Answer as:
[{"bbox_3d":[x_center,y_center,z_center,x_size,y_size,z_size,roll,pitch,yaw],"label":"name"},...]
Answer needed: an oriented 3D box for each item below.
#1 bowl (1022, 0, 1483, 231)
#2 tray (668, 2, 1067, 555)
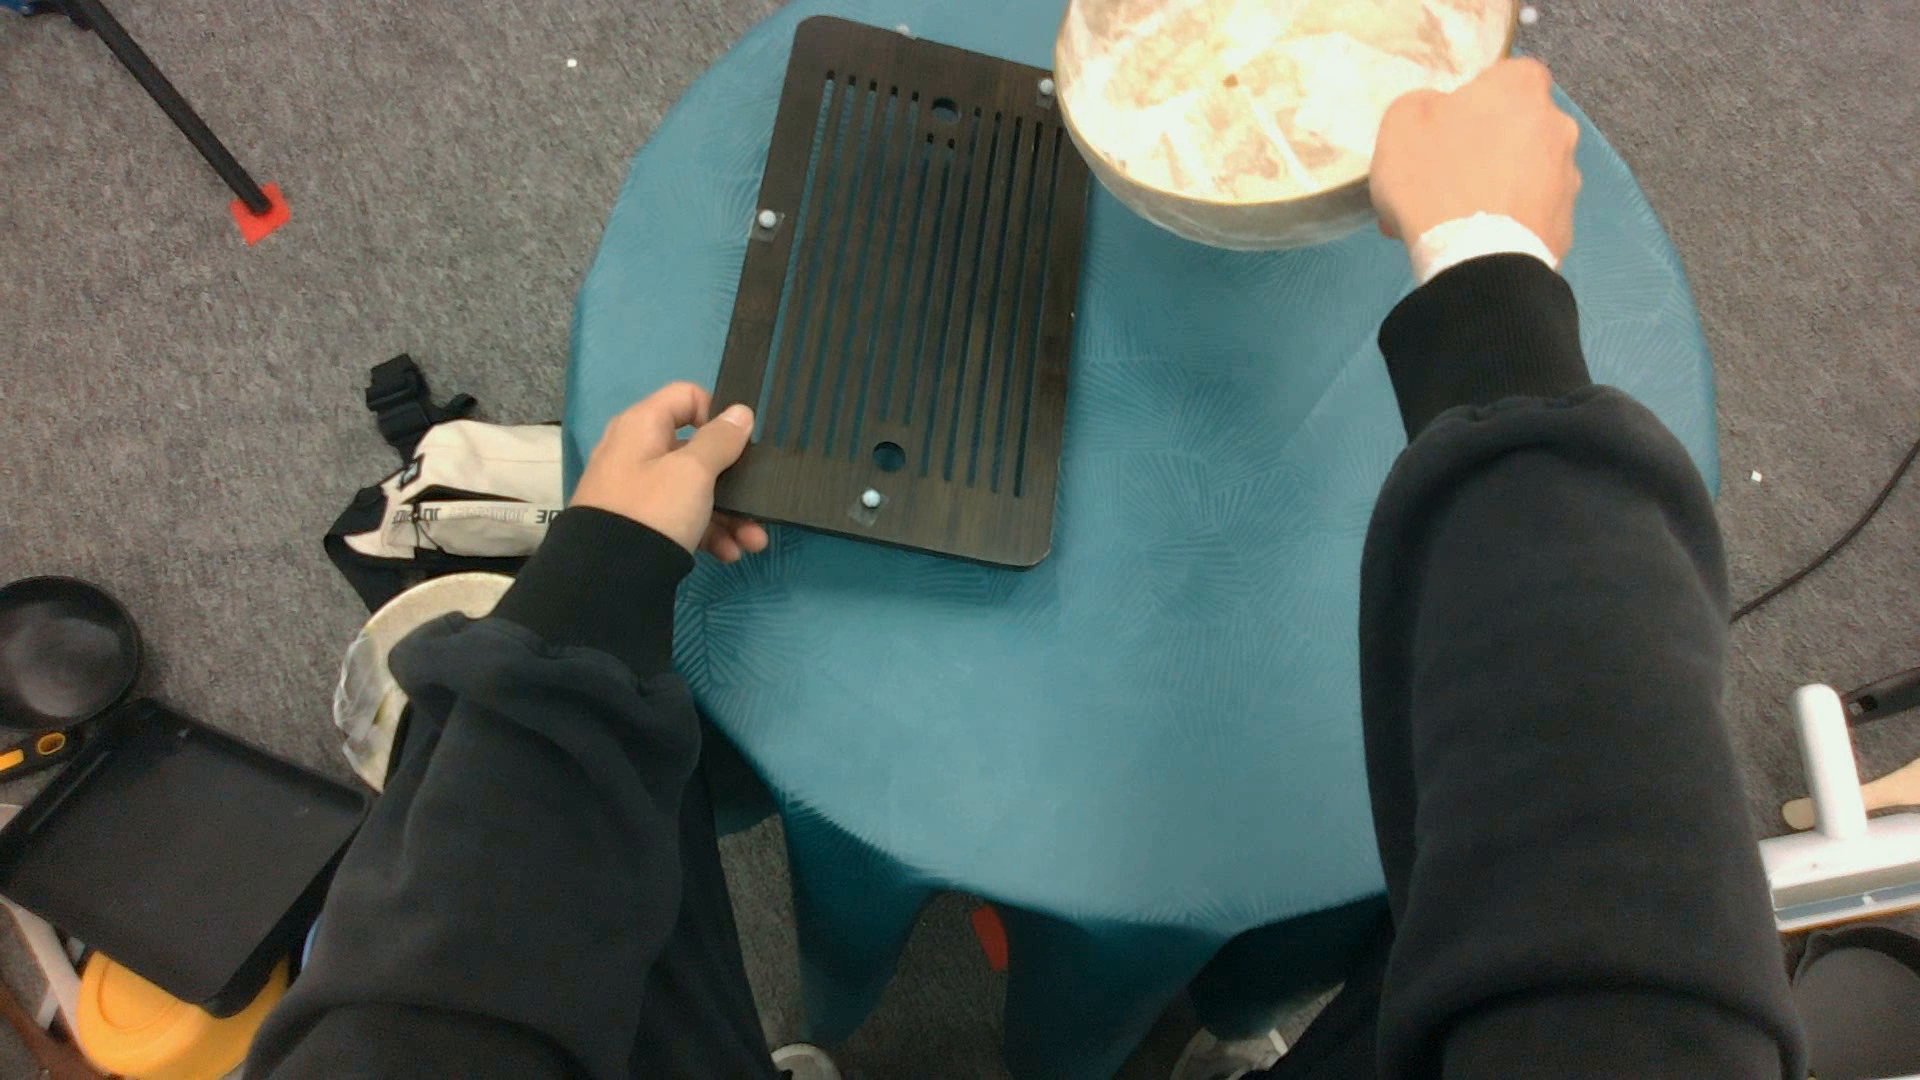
[{"bbox_3d":[0.133,-0.221,0.648,0.214,0.094,0.215,-6,66,13],"label":"bowl"},{"bbox_3d":[-0.036,-0.142,0.704,0.170,0.018,0.307,11,64,-8],"label":"tray"}]
